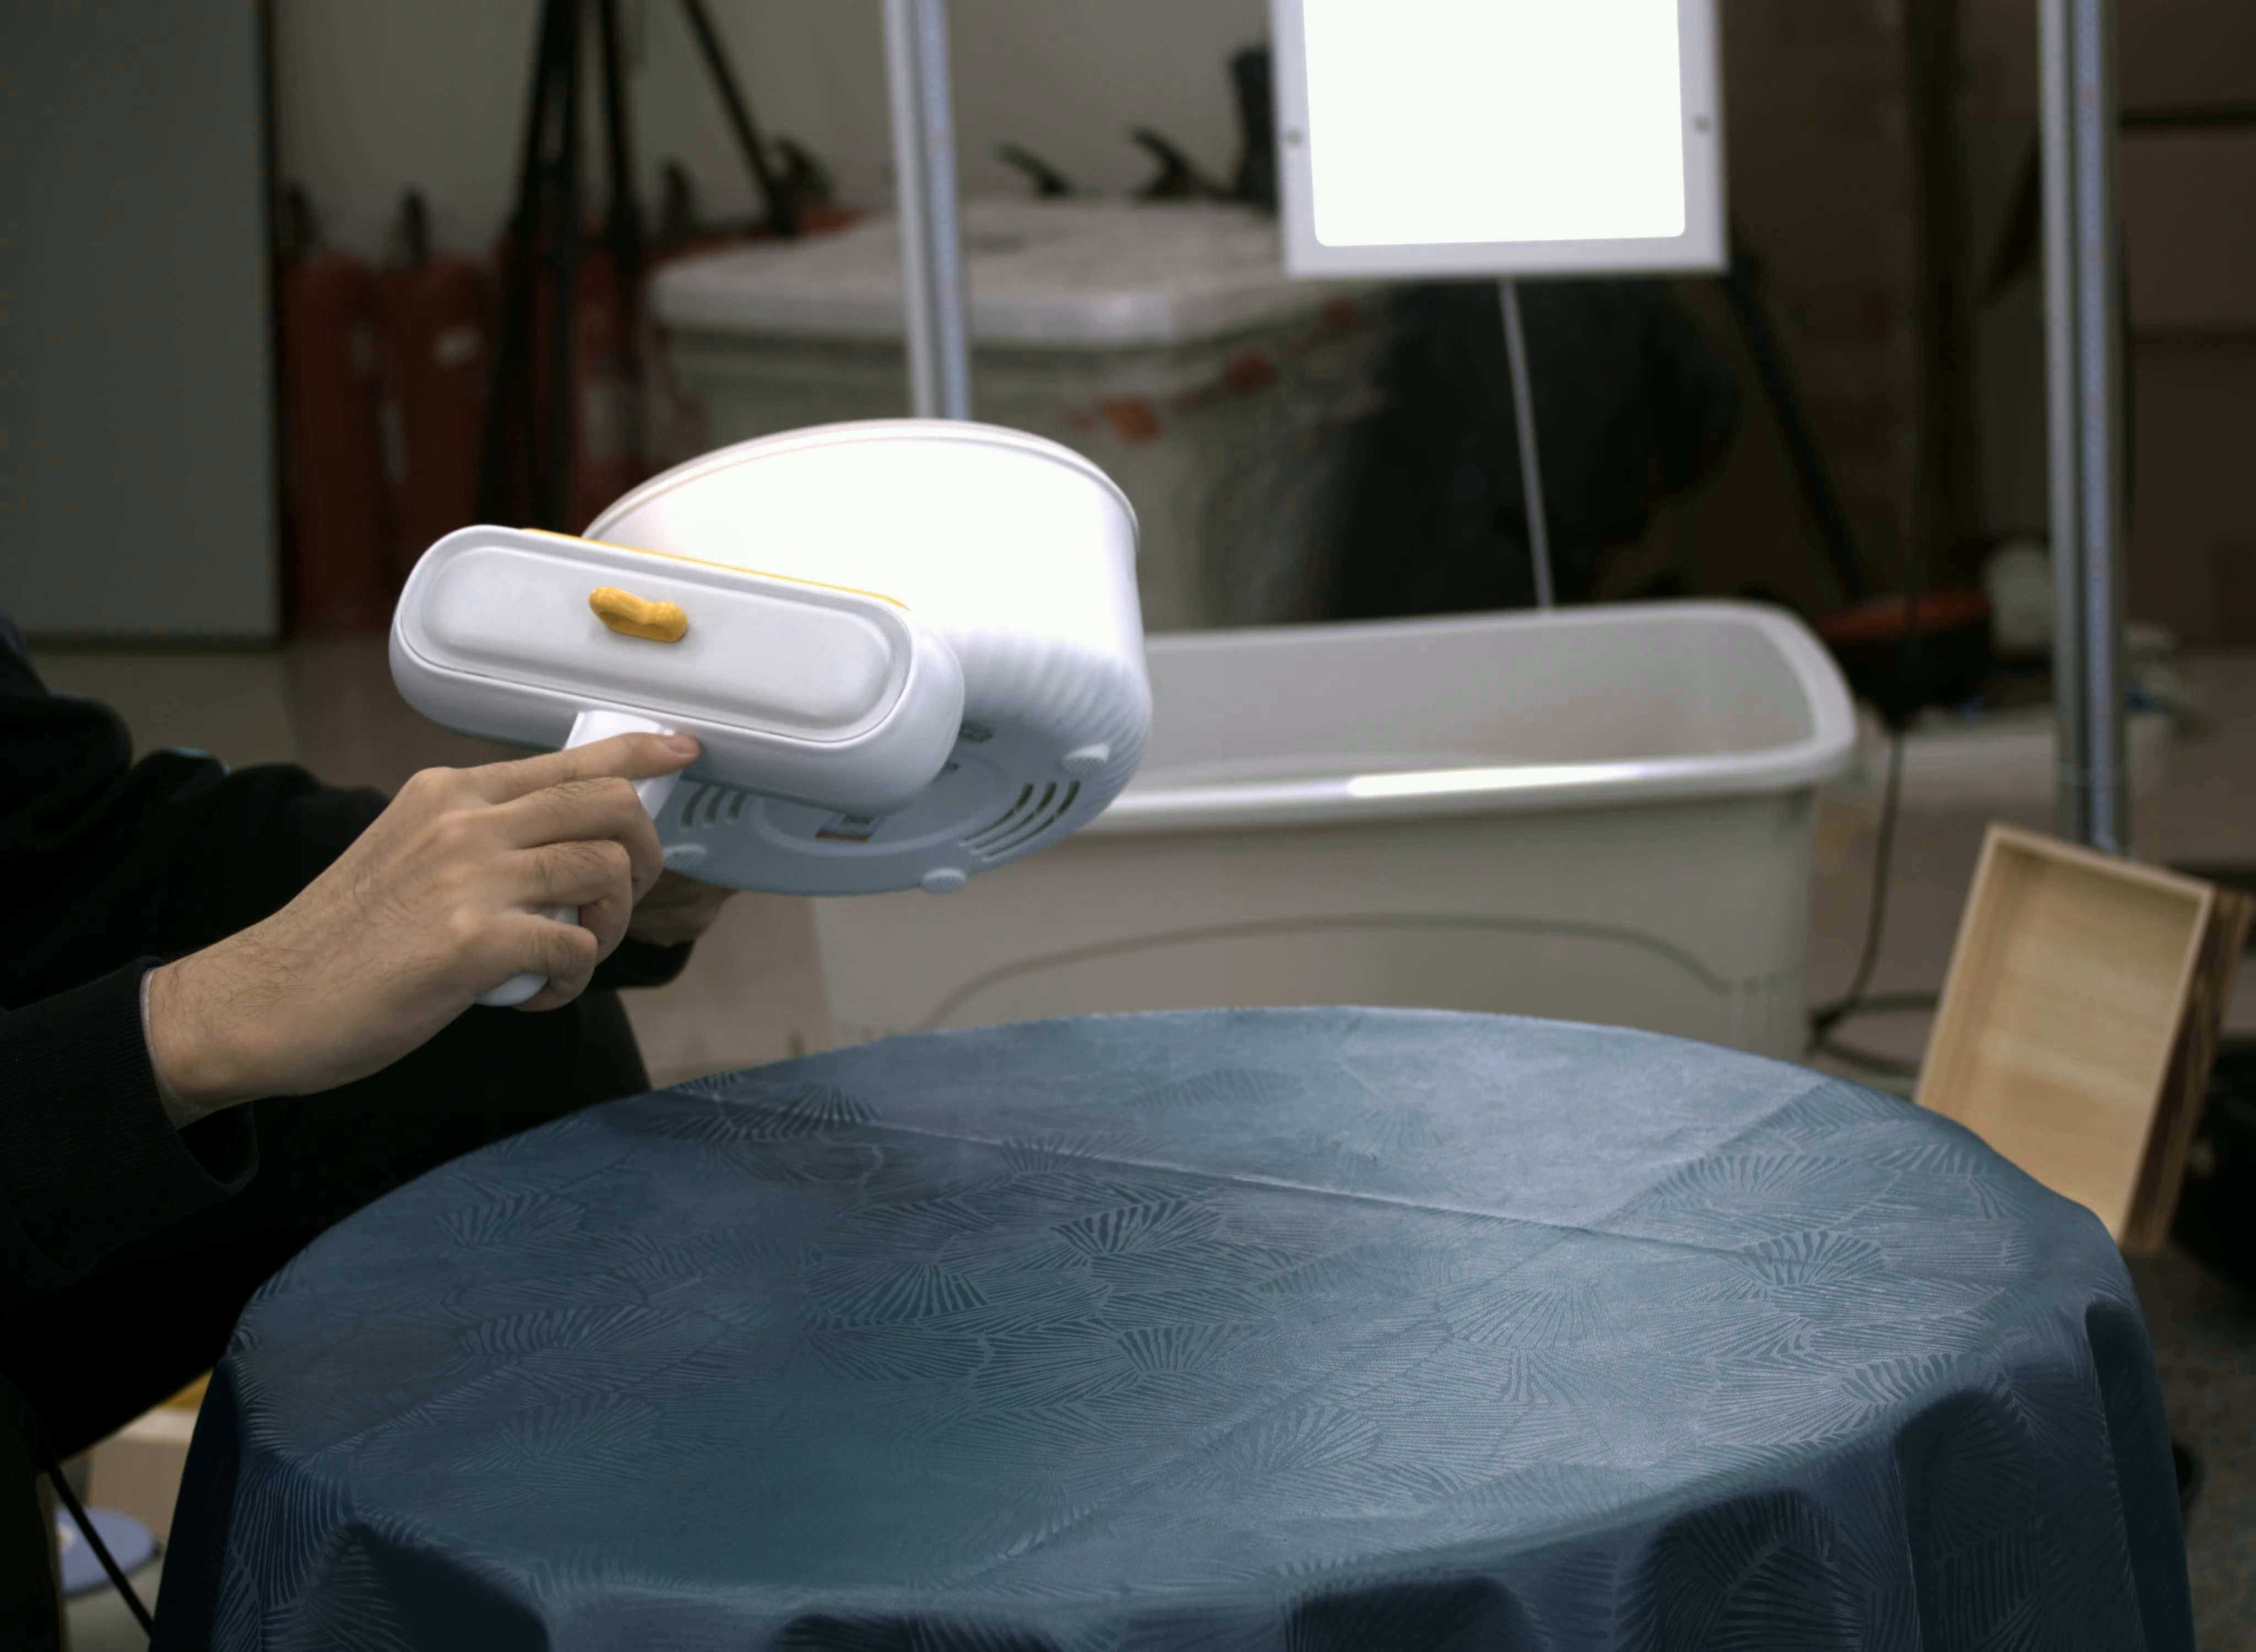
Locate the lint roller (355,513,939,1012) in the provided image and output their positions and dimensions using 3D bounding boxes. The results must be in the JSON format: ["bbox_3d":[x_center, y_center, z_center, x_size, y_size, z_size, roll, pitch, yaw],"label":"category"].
[{"bbox_3d":[-0.170,-0.012,1.737,0.194,0.074,0.190,10,57,13],"label":"lint roller"}]

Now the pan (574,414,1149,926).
[{"bbox_3d":[-0.129,-0.018,1.949,0.197,0.102,0.362,6,-27,-29],"label":"pan"}]
